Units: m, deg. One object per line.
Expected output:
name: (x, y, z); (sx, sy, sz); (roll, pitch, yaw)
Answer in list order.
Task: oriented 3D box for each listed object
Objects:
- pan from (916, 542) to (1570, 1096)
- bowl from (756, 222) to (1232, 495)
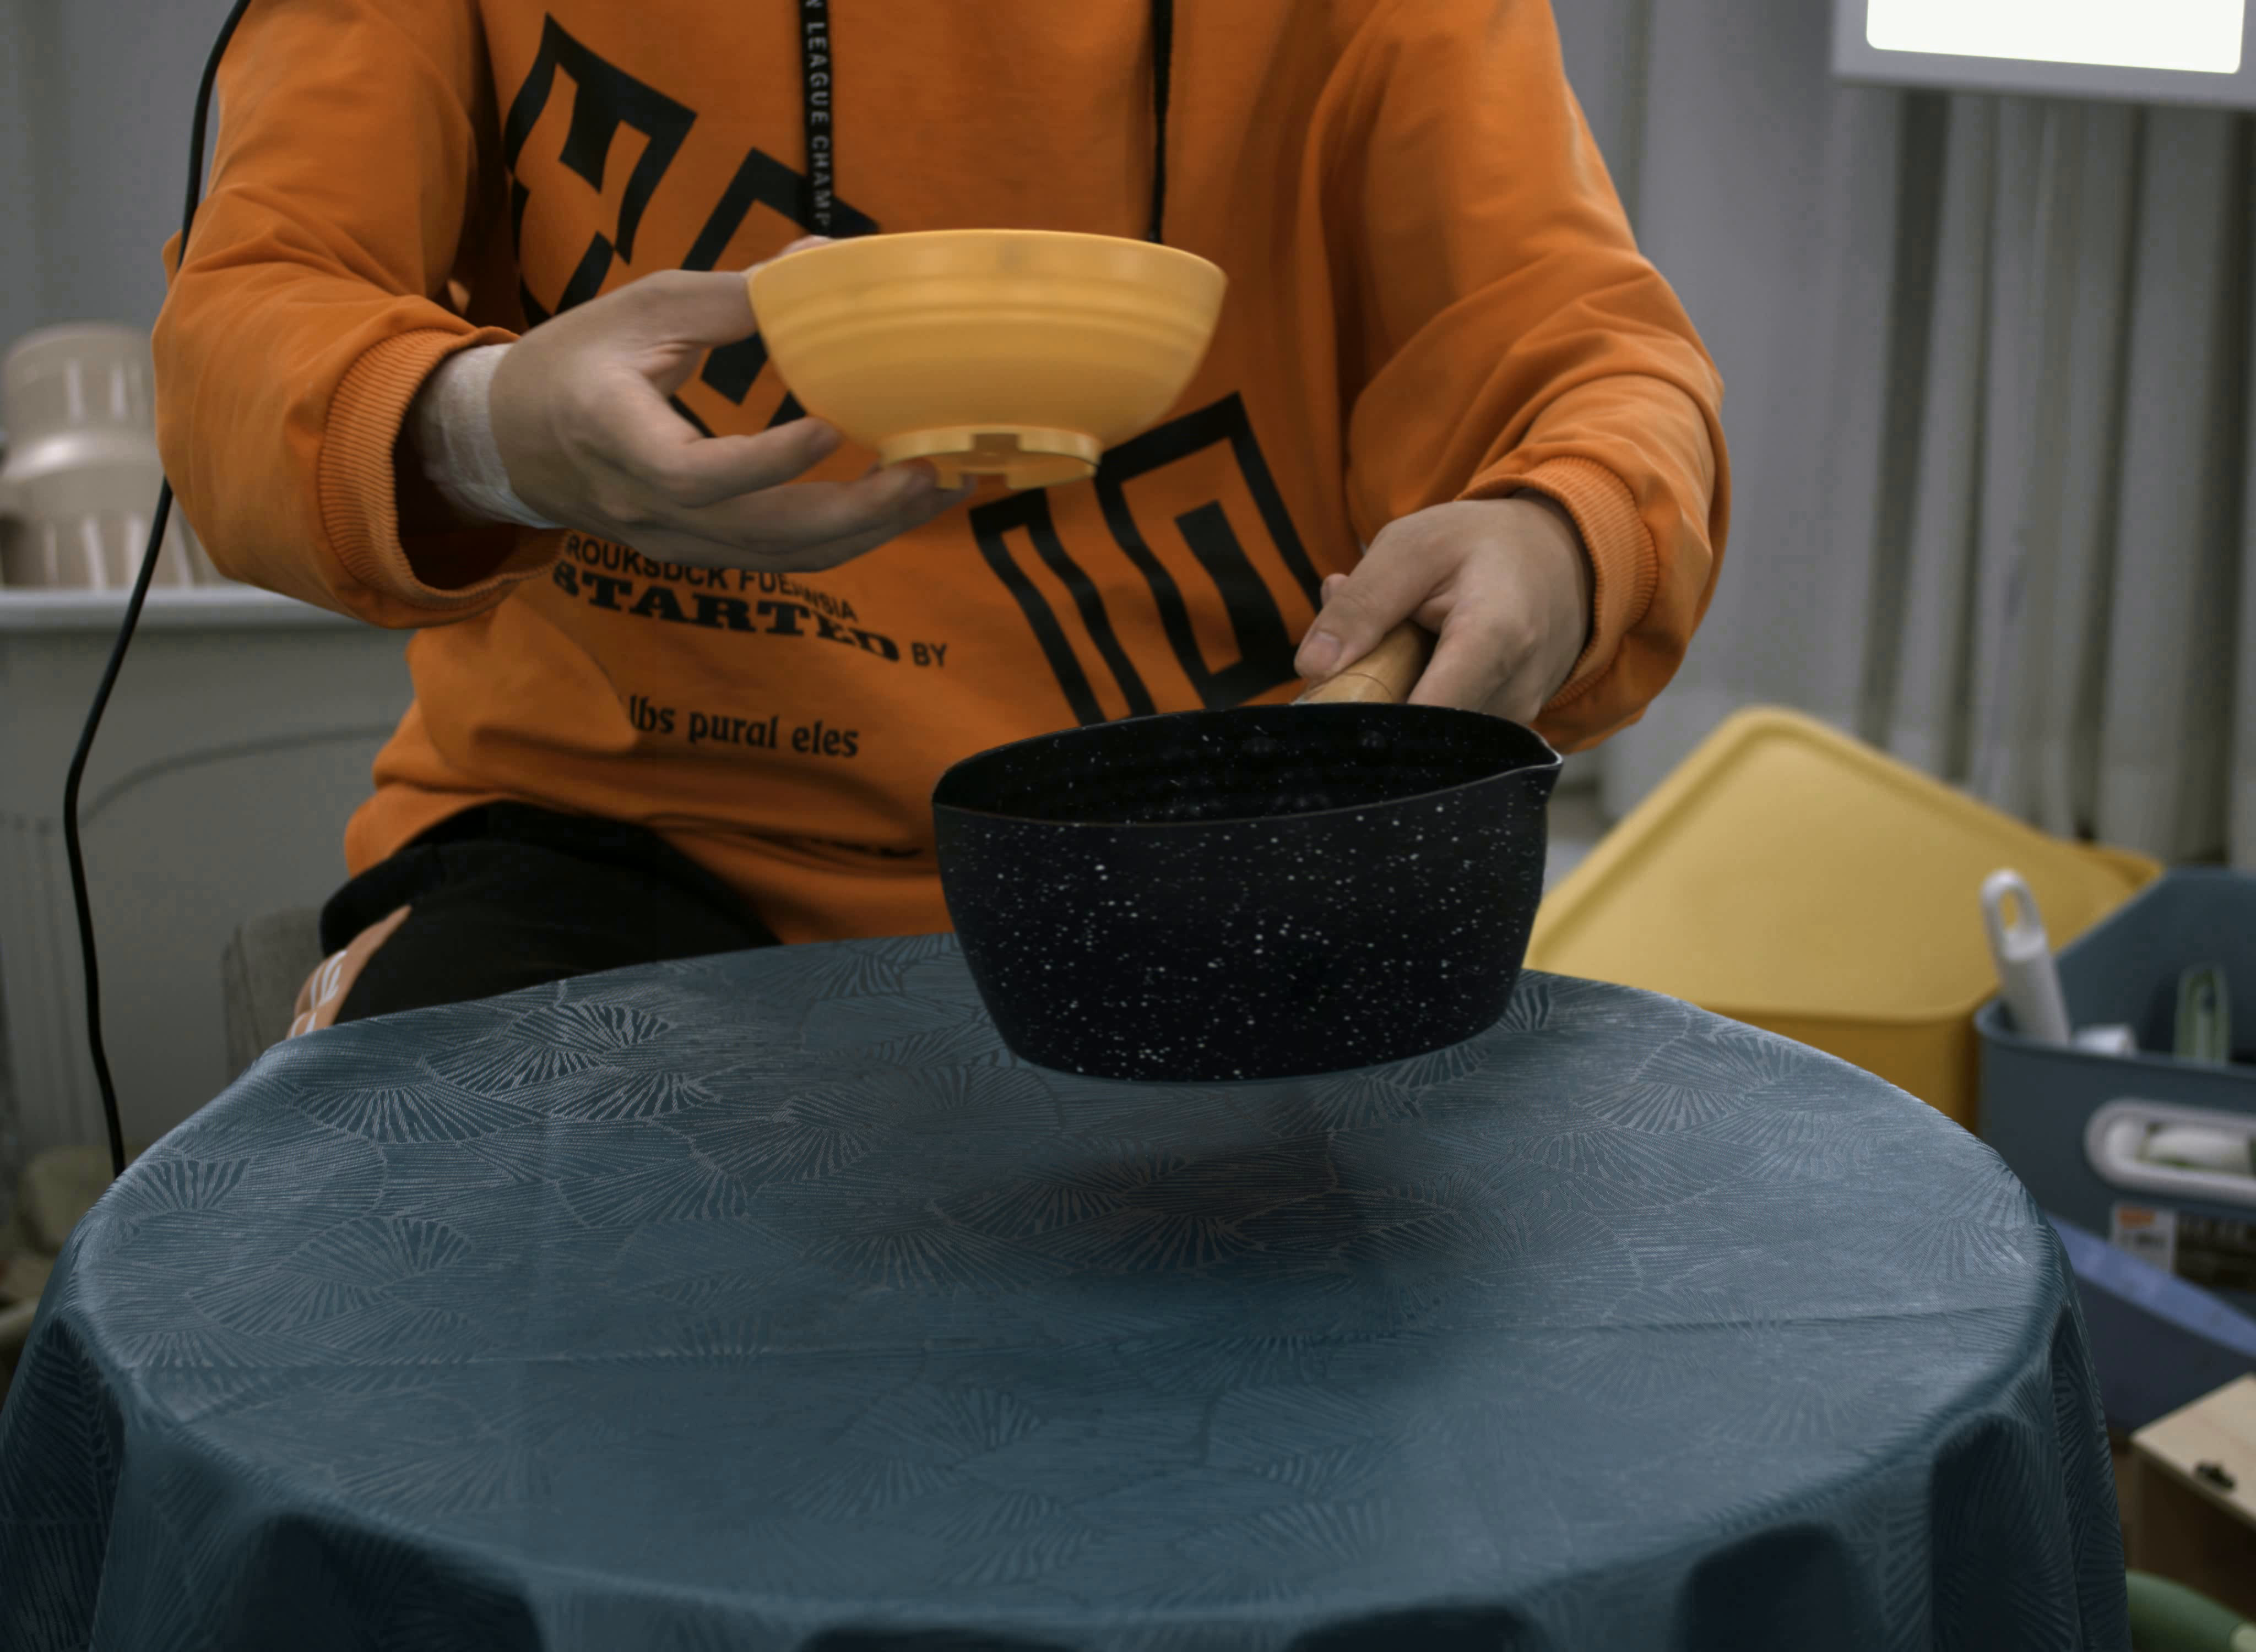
pan: (0.056, -0.007, 1.656); (0.206, 0.109, 0.343); (-2, 13, 17)
bowl: (-0.041, -0.135, 1.587); (0.145, 0.060, 0.146); (0, -9, 1)
